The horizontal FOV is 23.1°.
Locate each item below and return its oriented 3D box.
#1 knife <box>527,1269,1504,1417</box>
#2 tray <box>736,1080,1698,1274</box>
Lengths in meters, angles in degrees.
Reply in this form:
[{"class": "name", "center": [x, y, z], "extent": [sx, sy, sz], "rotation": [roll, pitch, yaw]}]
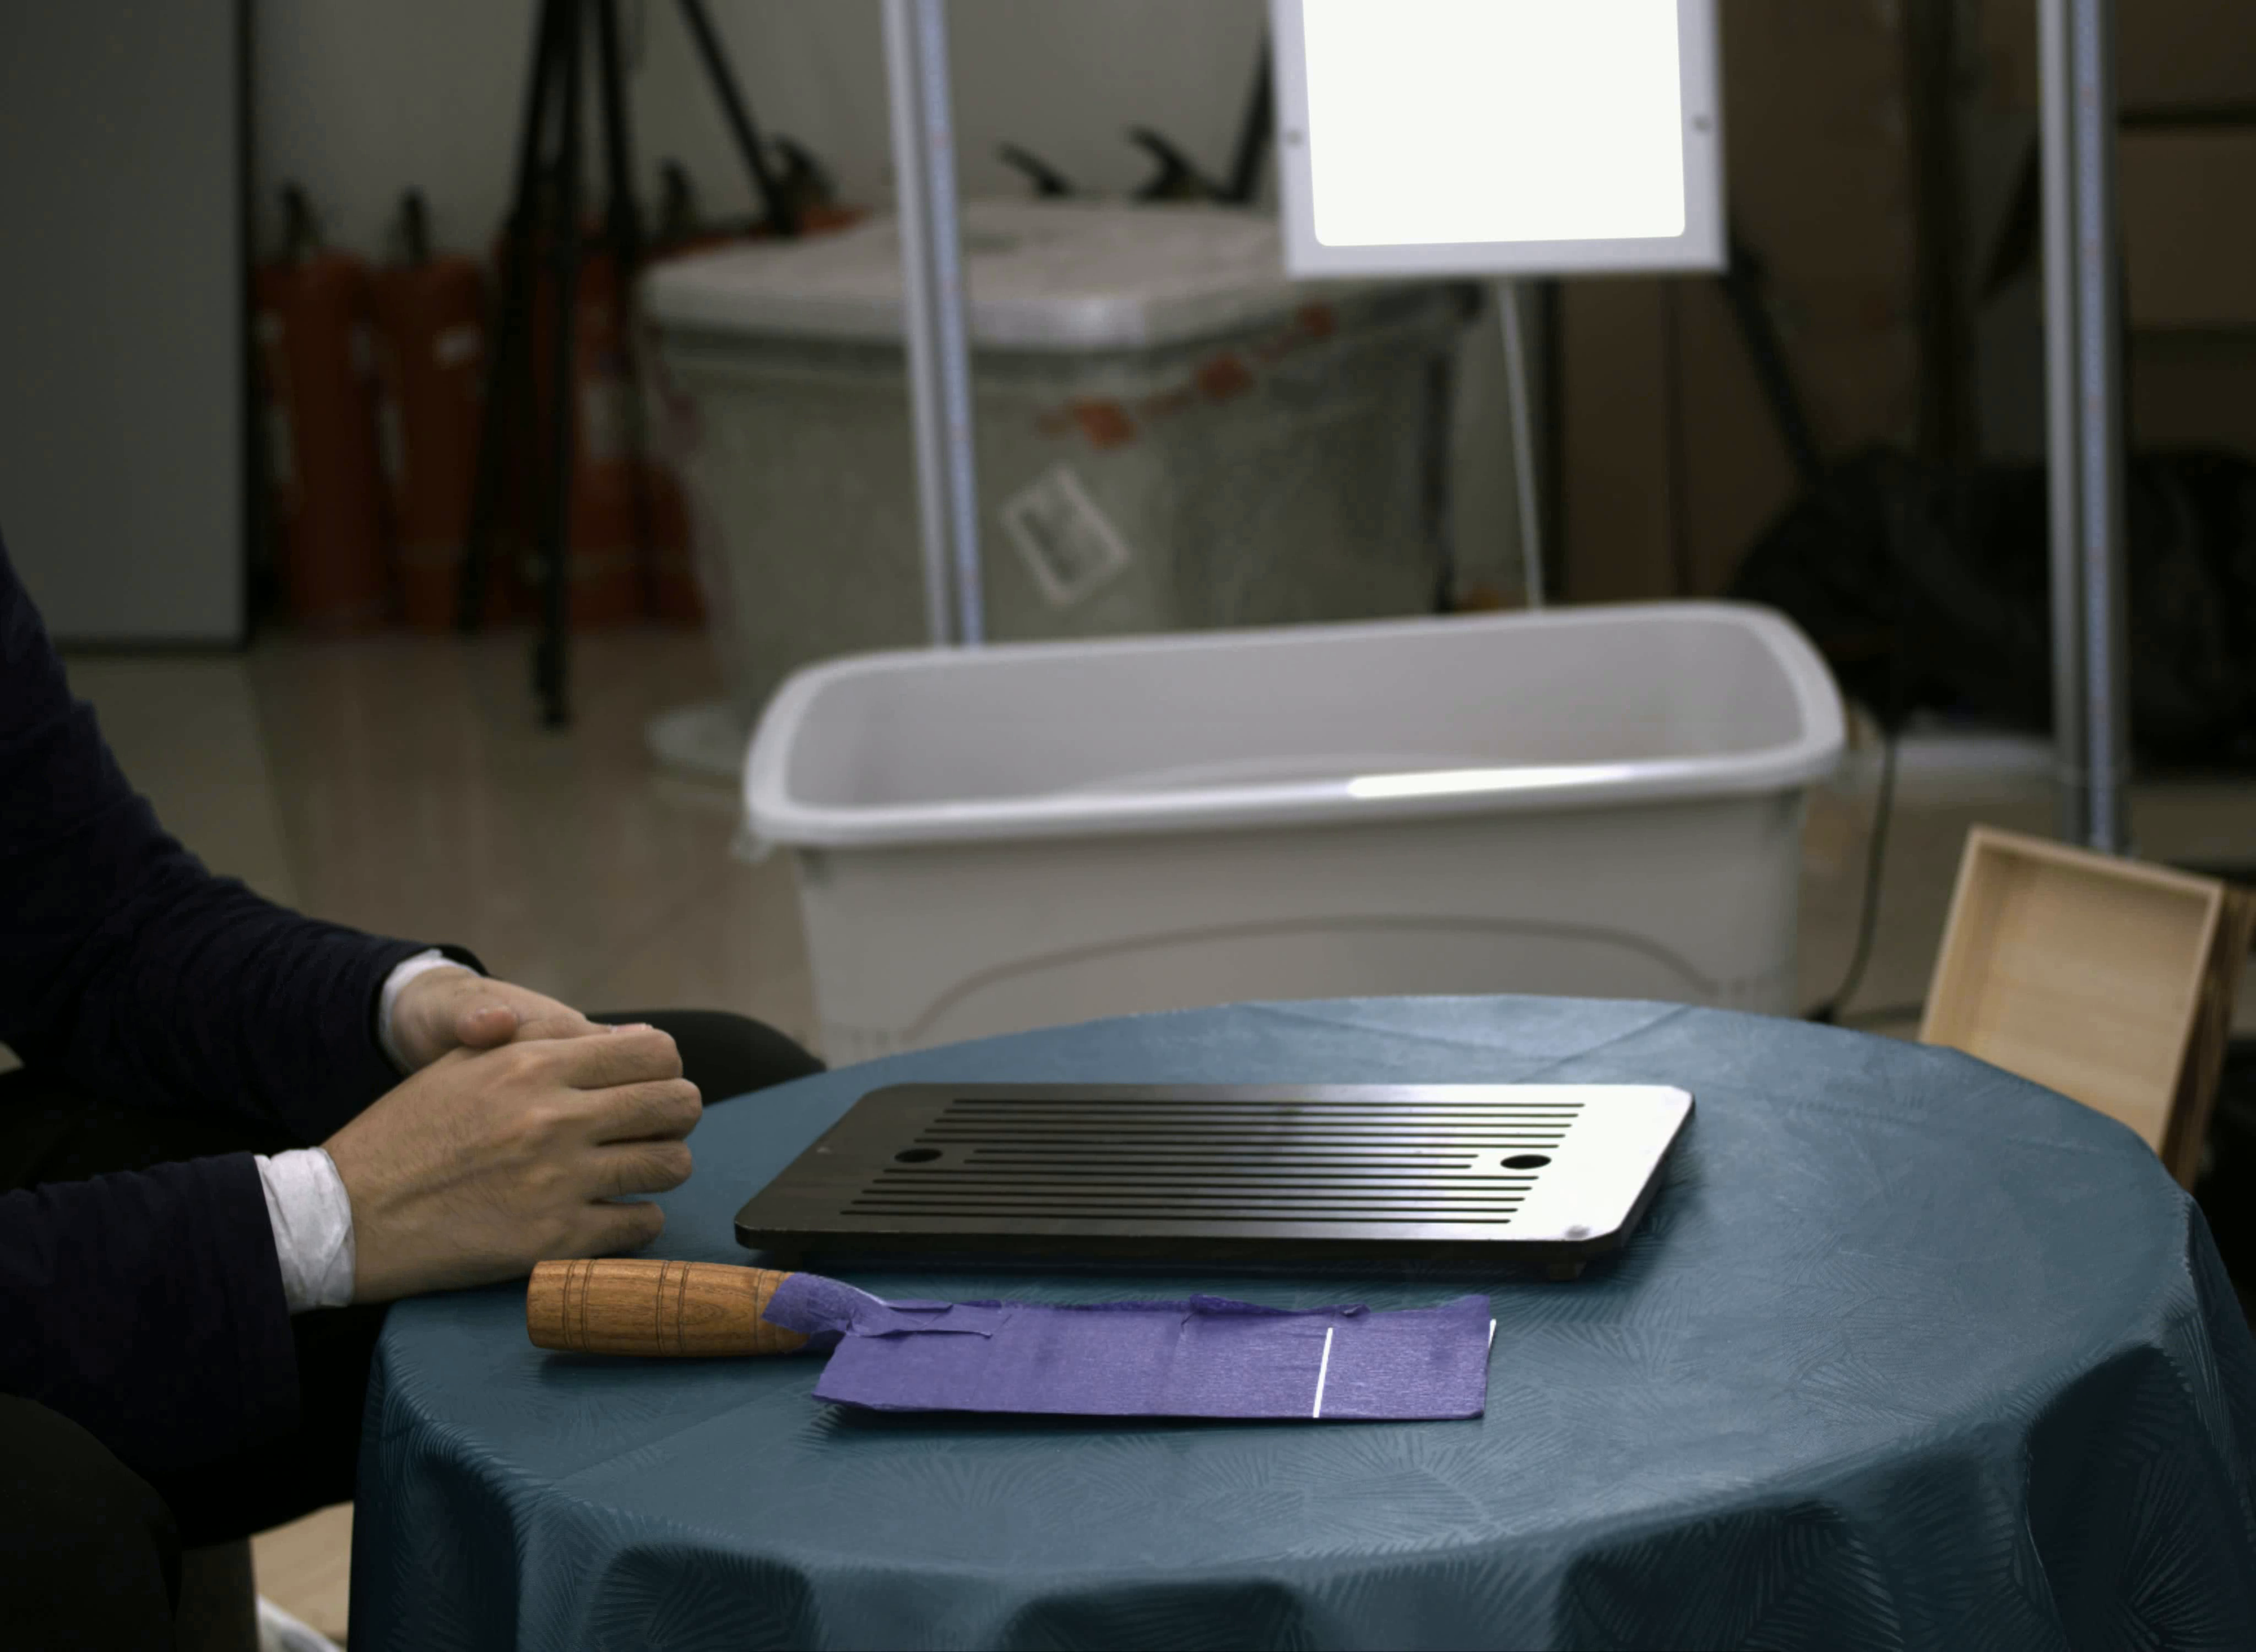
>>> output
[{"class": "knife", "center": [-0.040, 0.161, 1.721], "extent": [0.317, 0.032, 0.103], "rotation": [-2, 14, 10]}, {"class": "tray", "center": [0.033, 0.119, 1.883], "extent": [0.309, 0.019, 0.167], "rotation": [-1, 14, 18]}]
